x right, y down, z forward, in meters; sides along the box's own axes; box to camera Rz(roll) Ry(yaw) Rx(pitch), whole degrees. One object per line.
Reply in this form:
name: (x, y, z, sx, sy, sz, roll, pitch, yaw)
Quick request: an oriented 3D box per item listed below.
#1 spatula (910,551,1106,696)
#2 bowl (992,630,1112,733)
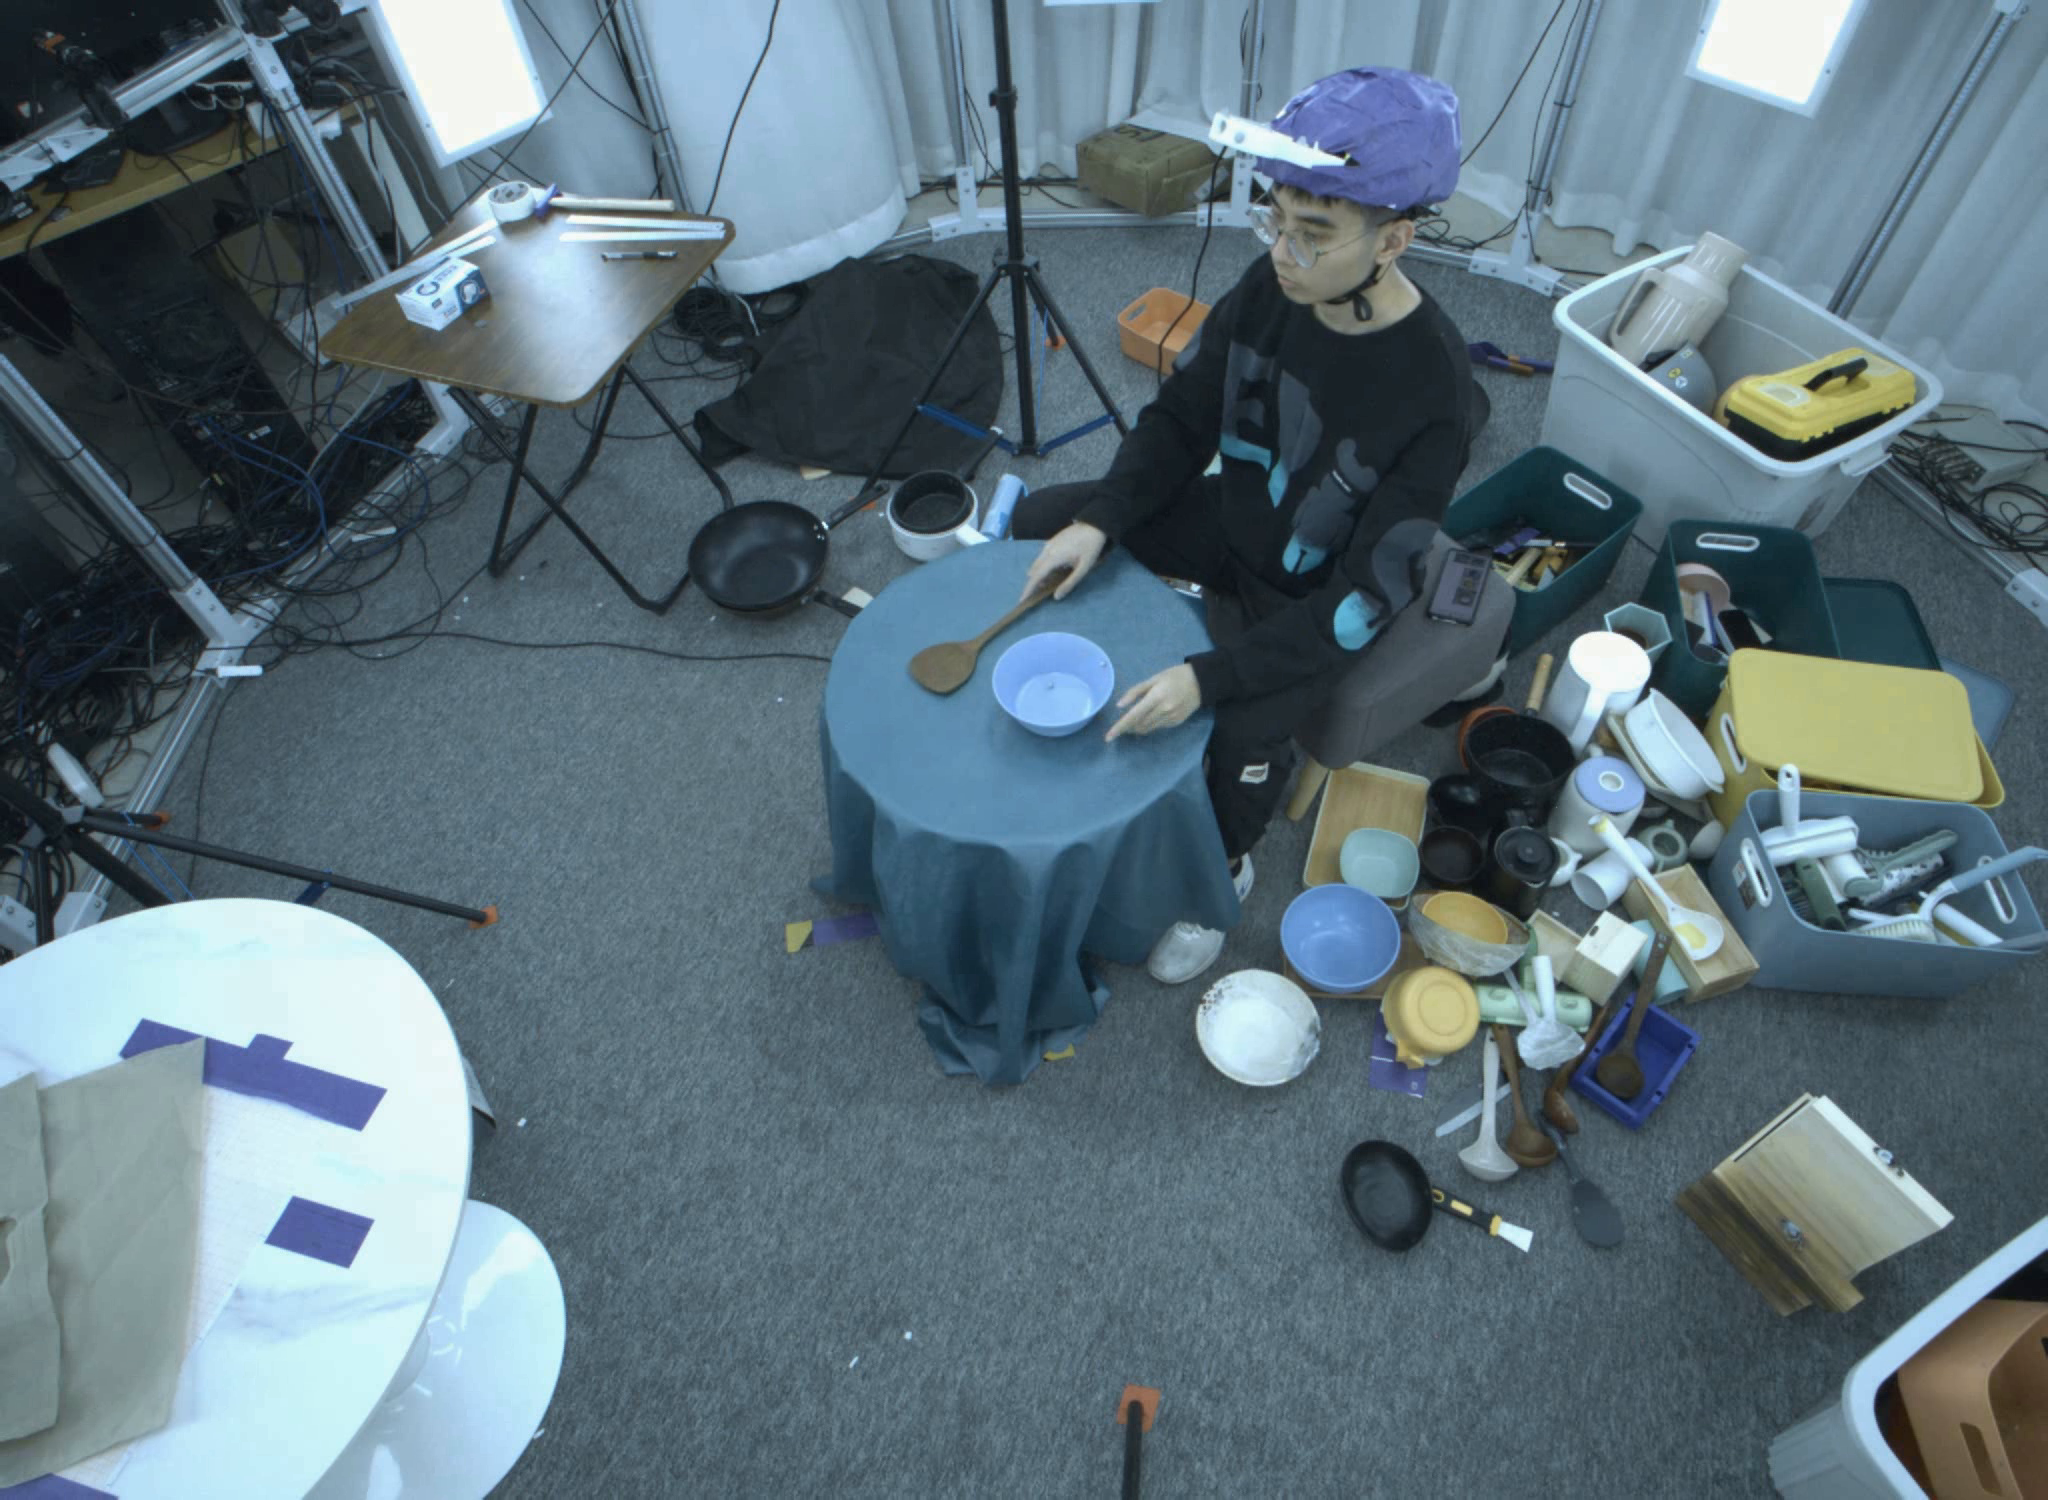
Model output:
spatula: (-0.013, -0.210, 1.933, 0.388, 0.016, 0.094, -38, 63, -20)
bowl: (0.043, -0.090, 1.816, 0.175, 0.071, 0.174, -2, 56, 4)
